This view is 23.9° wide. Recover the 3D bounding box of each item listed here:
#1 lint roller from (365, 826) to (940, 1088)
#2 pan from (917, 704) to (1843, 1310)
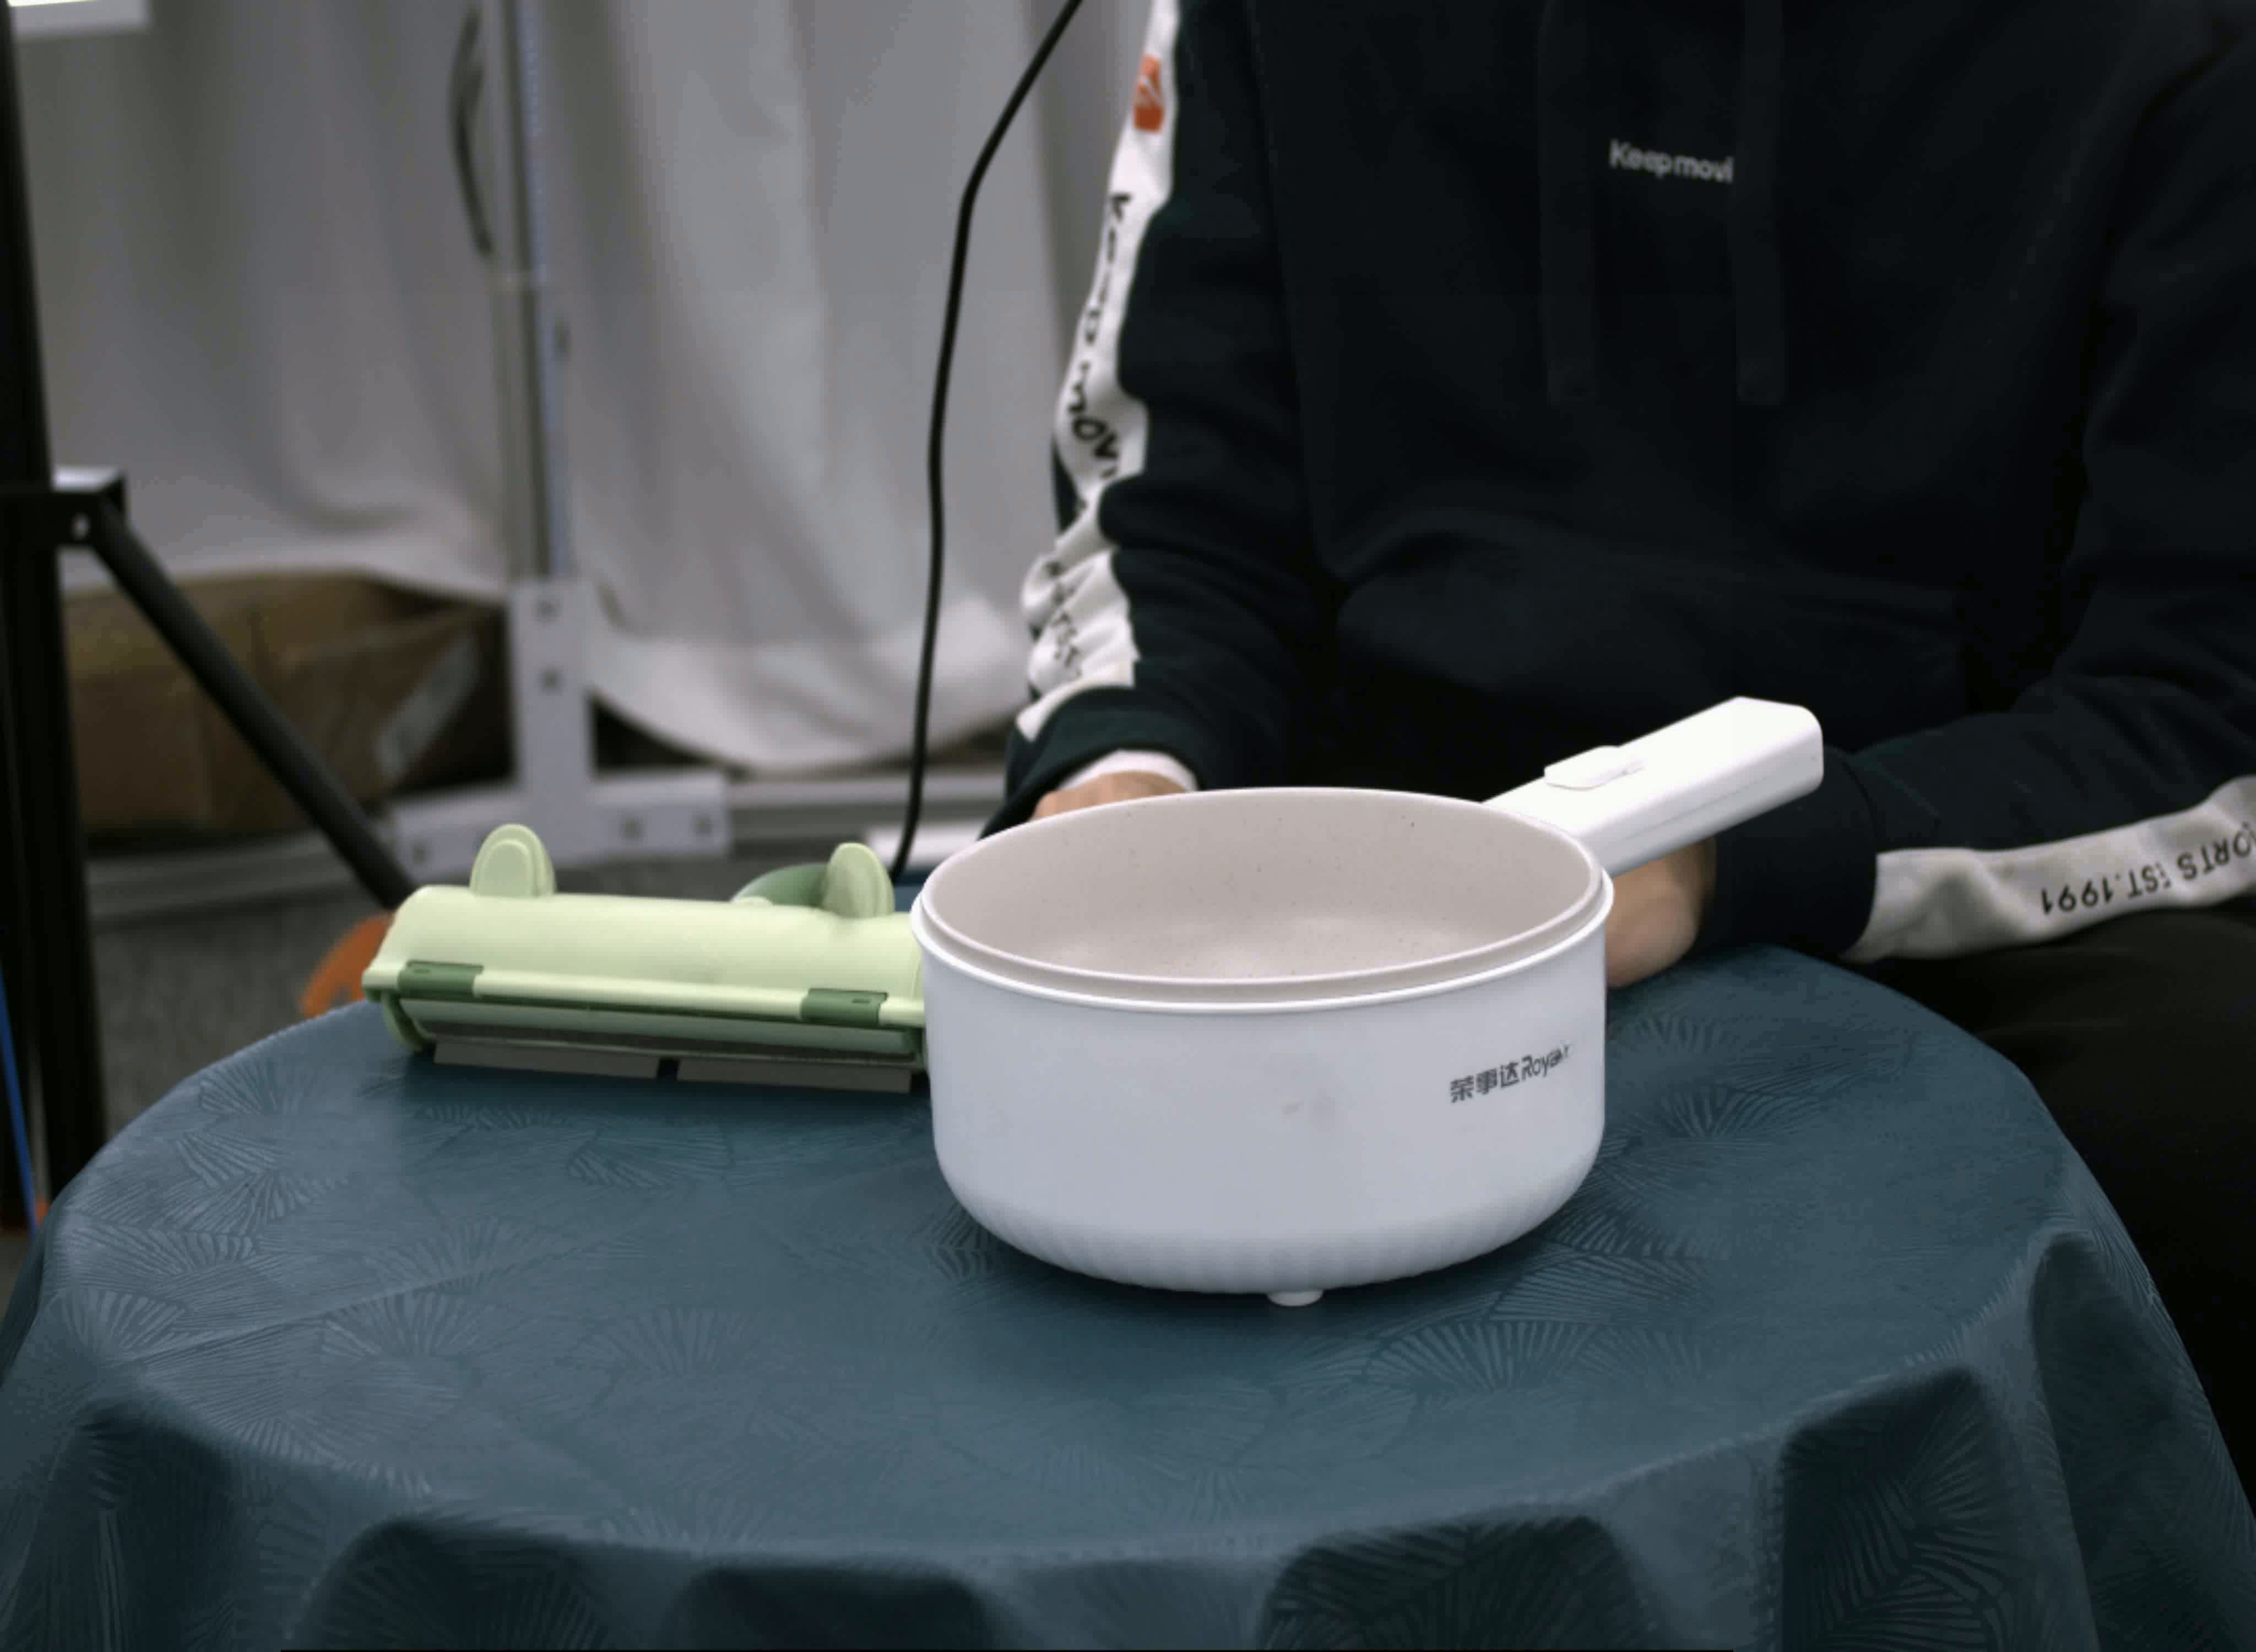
[{"bbox_3d":[-0.125,0.024,1.736,0.201,0.082,0.182,2,22,19],"label":"lint roller"},{"bbox_3d":[0.093,0.047,1.574,0.206,0.102,0.347,11,21,42],"label":"pan"}]
